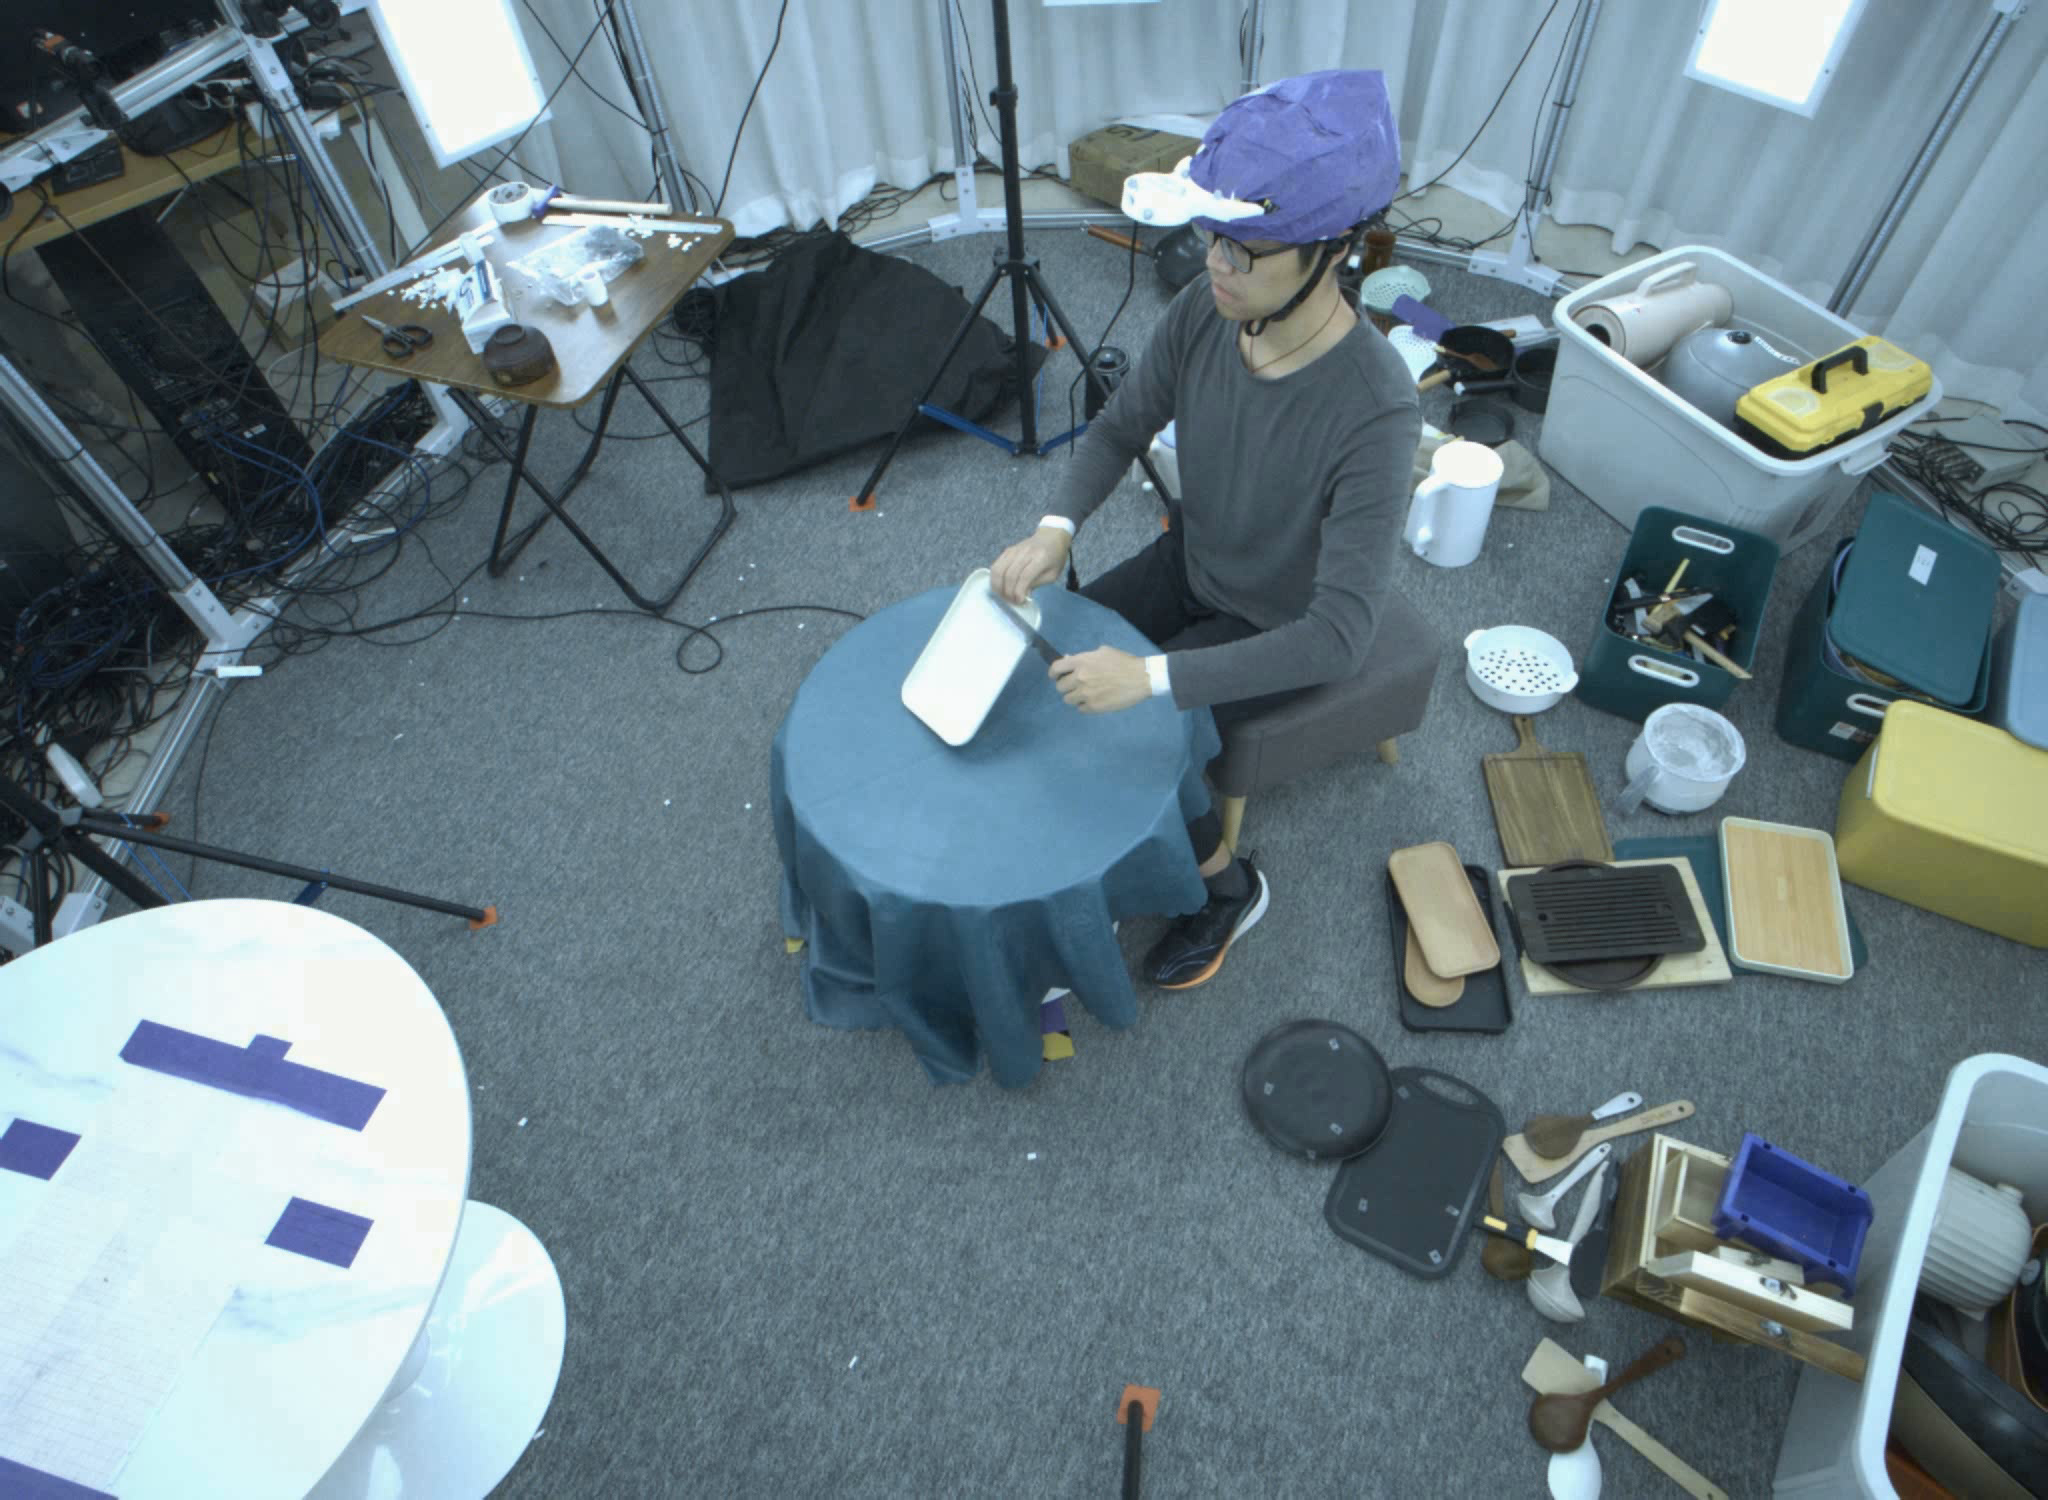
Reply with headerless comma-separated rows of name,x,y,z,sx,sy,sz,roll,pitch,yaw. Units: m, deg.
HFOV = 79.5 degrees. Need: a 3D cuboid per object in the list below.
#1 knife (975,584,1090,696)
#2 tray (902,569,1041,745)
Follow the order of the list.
knife,0.010,-0.160,1.725,0.235,0.016,0.024,45,102,17
tray,-0.077,-0.136,1.794,0.167,0.018,0.239,40,102,38
